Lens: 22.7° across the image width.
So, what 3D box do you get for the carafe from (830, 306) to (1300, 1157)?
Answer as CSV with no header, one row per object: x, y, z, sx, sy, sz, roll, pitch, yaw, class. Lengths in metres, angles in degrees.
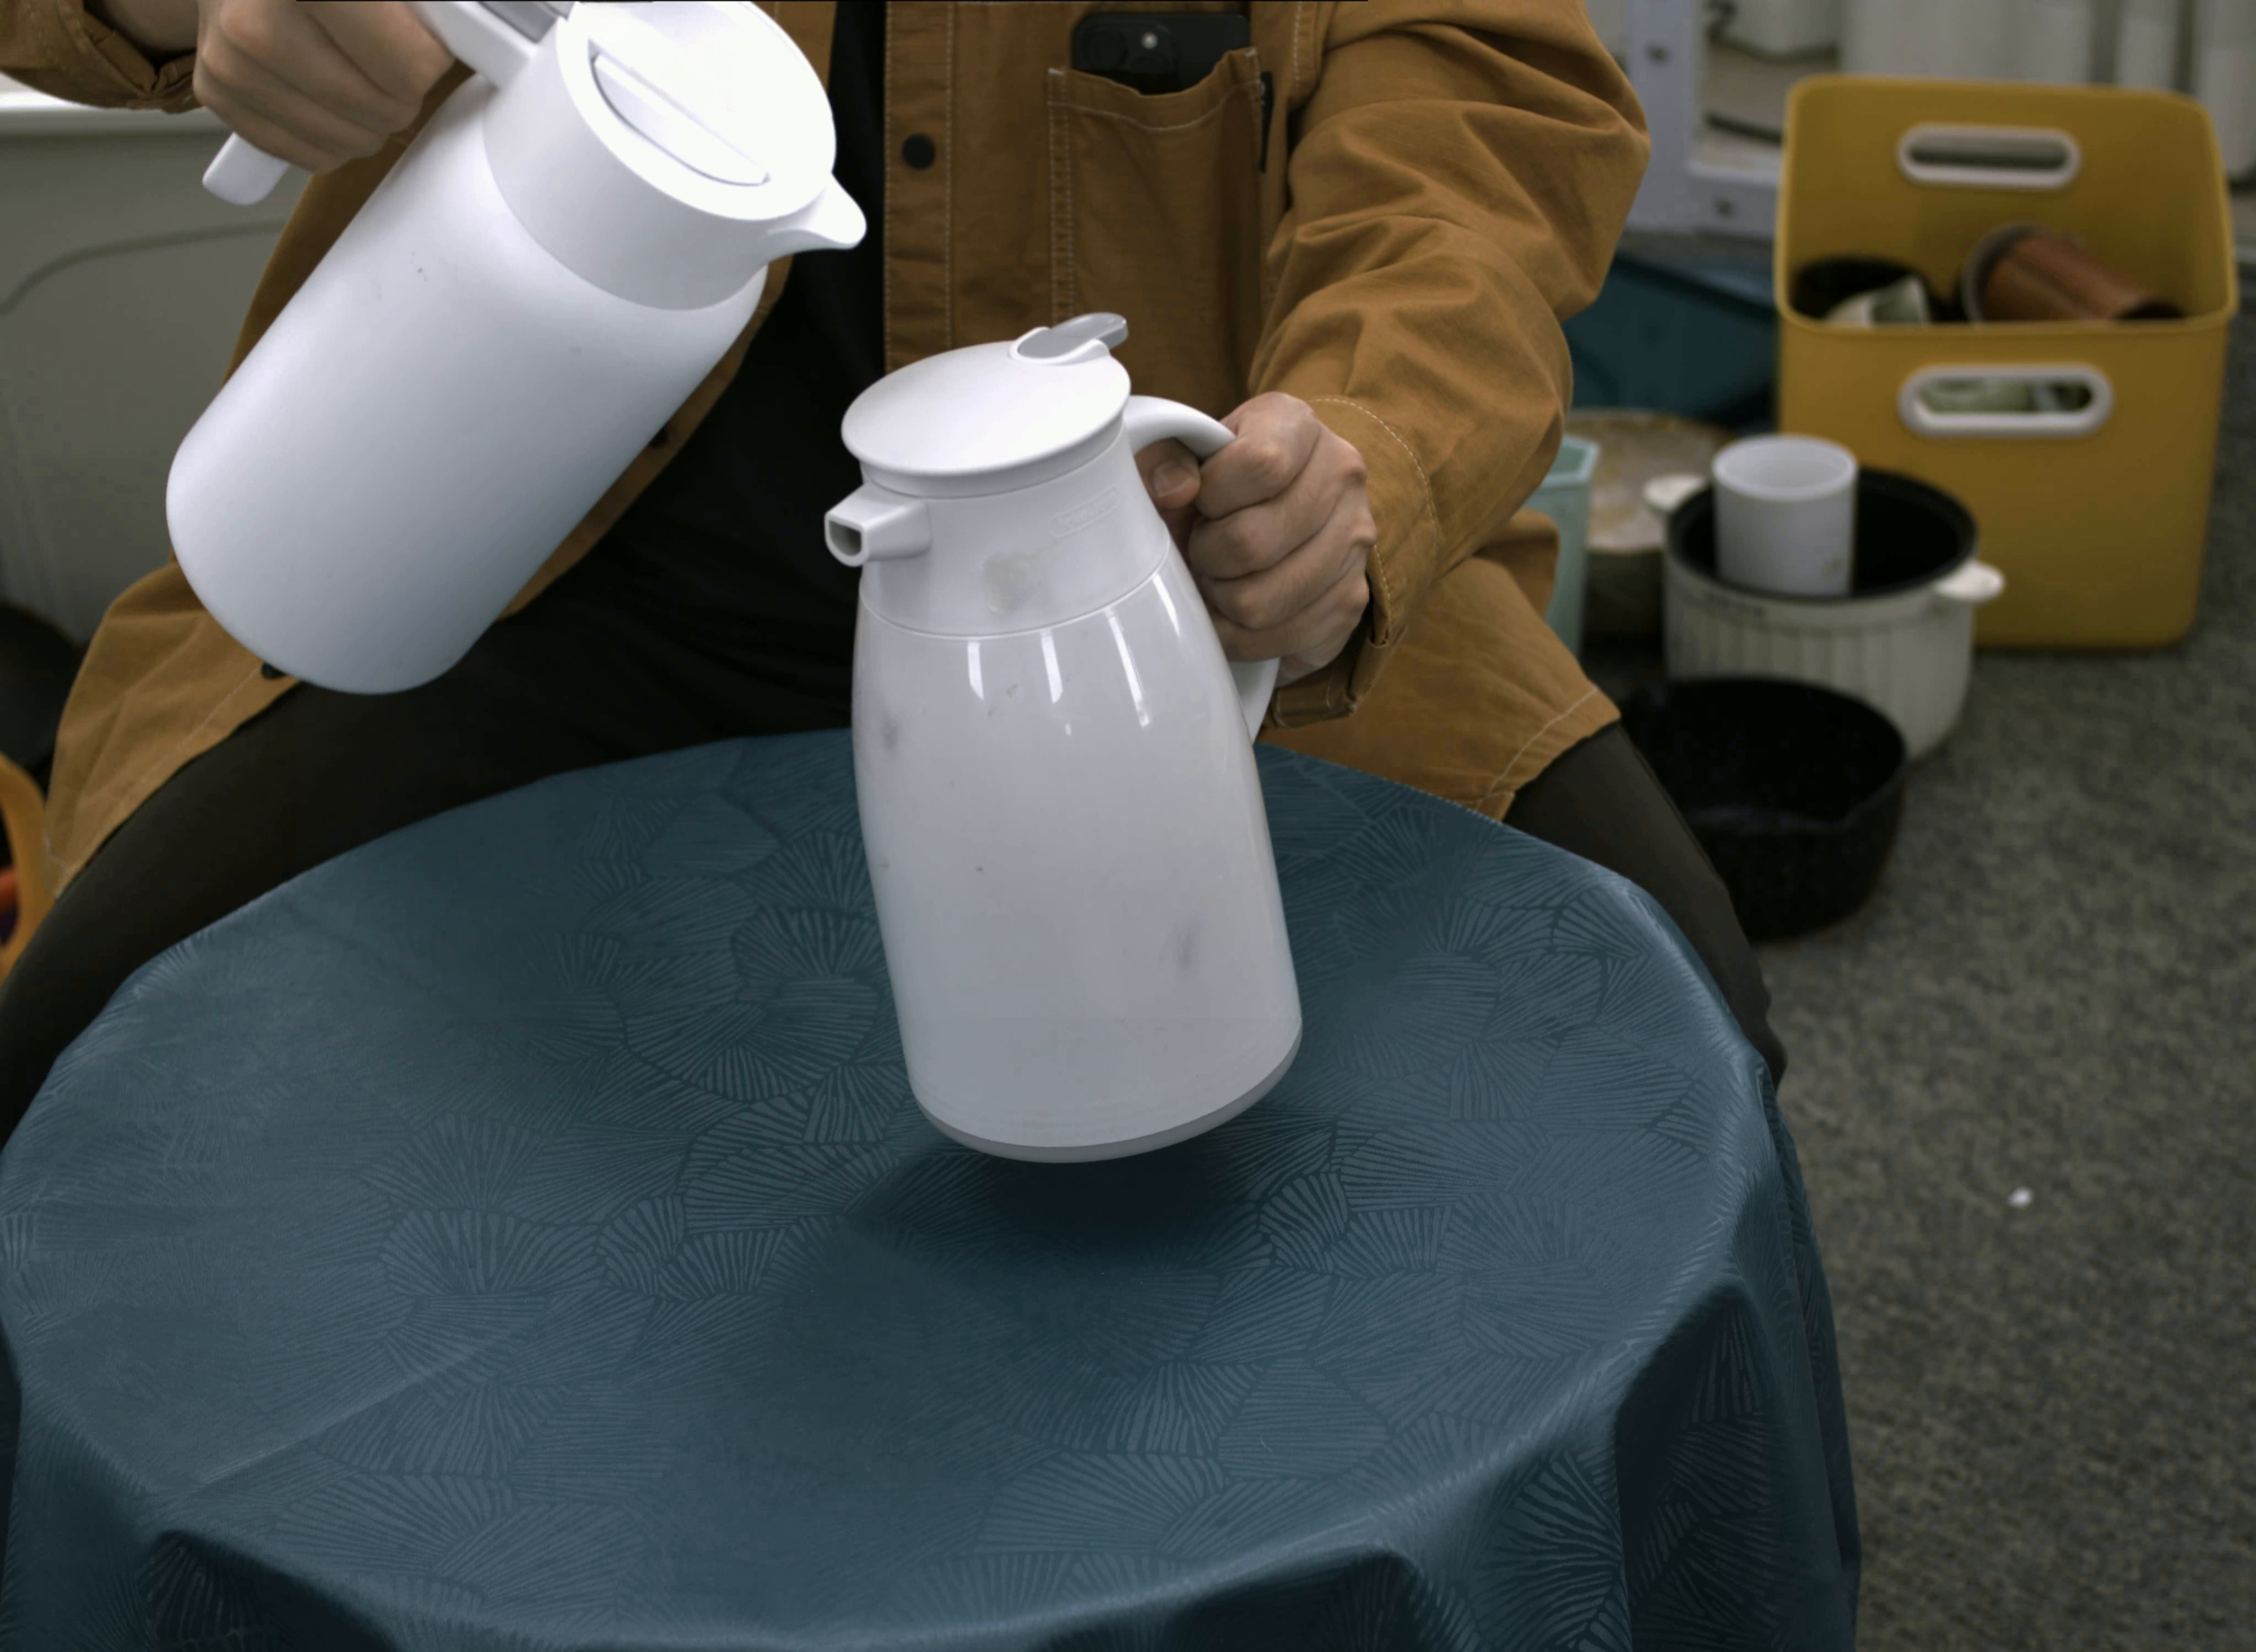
-0.013,-0.041,1.811,0.170,0.246,0.132,-29,33,-35,carafe

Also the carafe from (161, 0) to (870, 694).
-0.216,-0.167,1.795,0.172,0.264,0.126,35,44,-12,carafe
